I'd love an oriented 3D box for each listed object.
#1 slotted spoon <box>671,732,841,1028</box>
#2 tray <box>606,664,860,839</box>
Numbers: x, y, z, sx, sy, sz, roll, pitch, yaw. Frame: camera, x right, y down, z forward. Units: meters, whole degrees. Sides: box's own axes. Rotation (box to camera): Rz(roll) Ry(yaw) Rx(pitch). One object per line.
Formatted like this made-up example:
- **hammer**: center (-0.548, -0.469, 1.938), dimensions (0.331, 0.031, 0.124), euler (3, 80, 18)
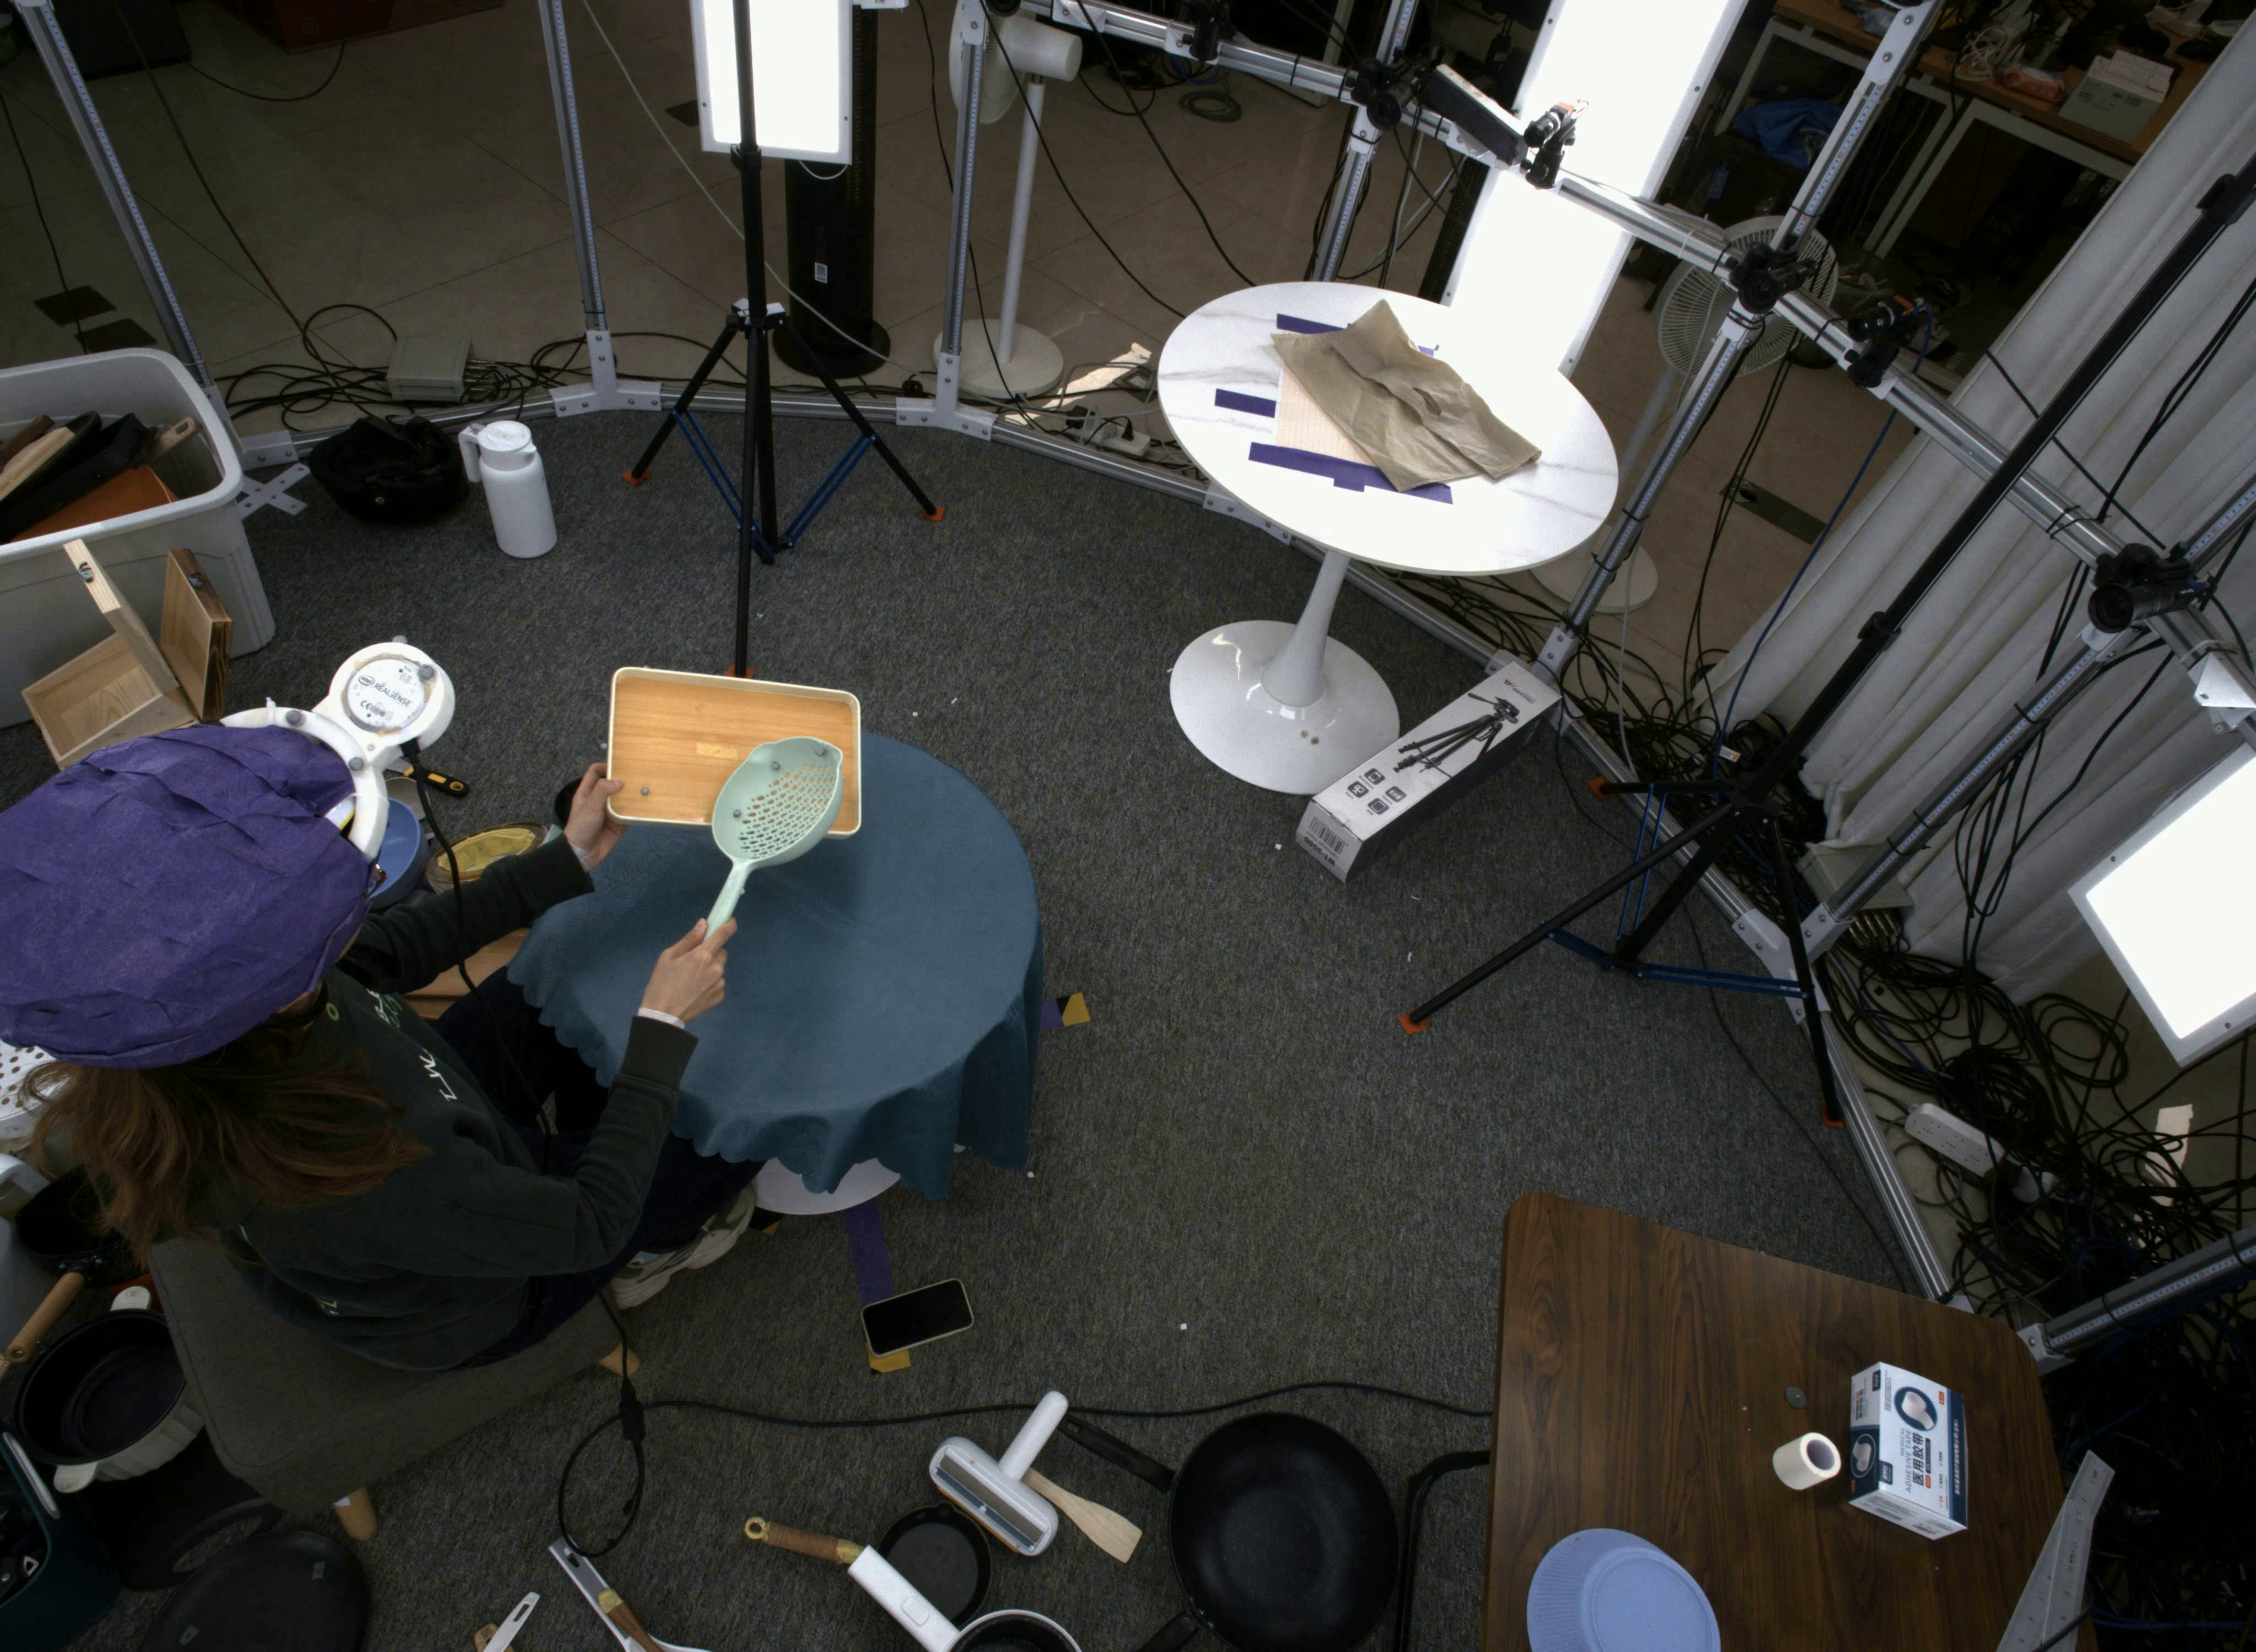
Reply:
- **slotted spoon**: center (-0.431, 0.052, 1.444), dimensions (0.164, 0.078, 0.356), euler (5, 53, 28)
- **tray**: center (-0.474, -0.088, 1.557), dimensions (0.305, 0.027, 0.191), euler (5, 73, -29)
